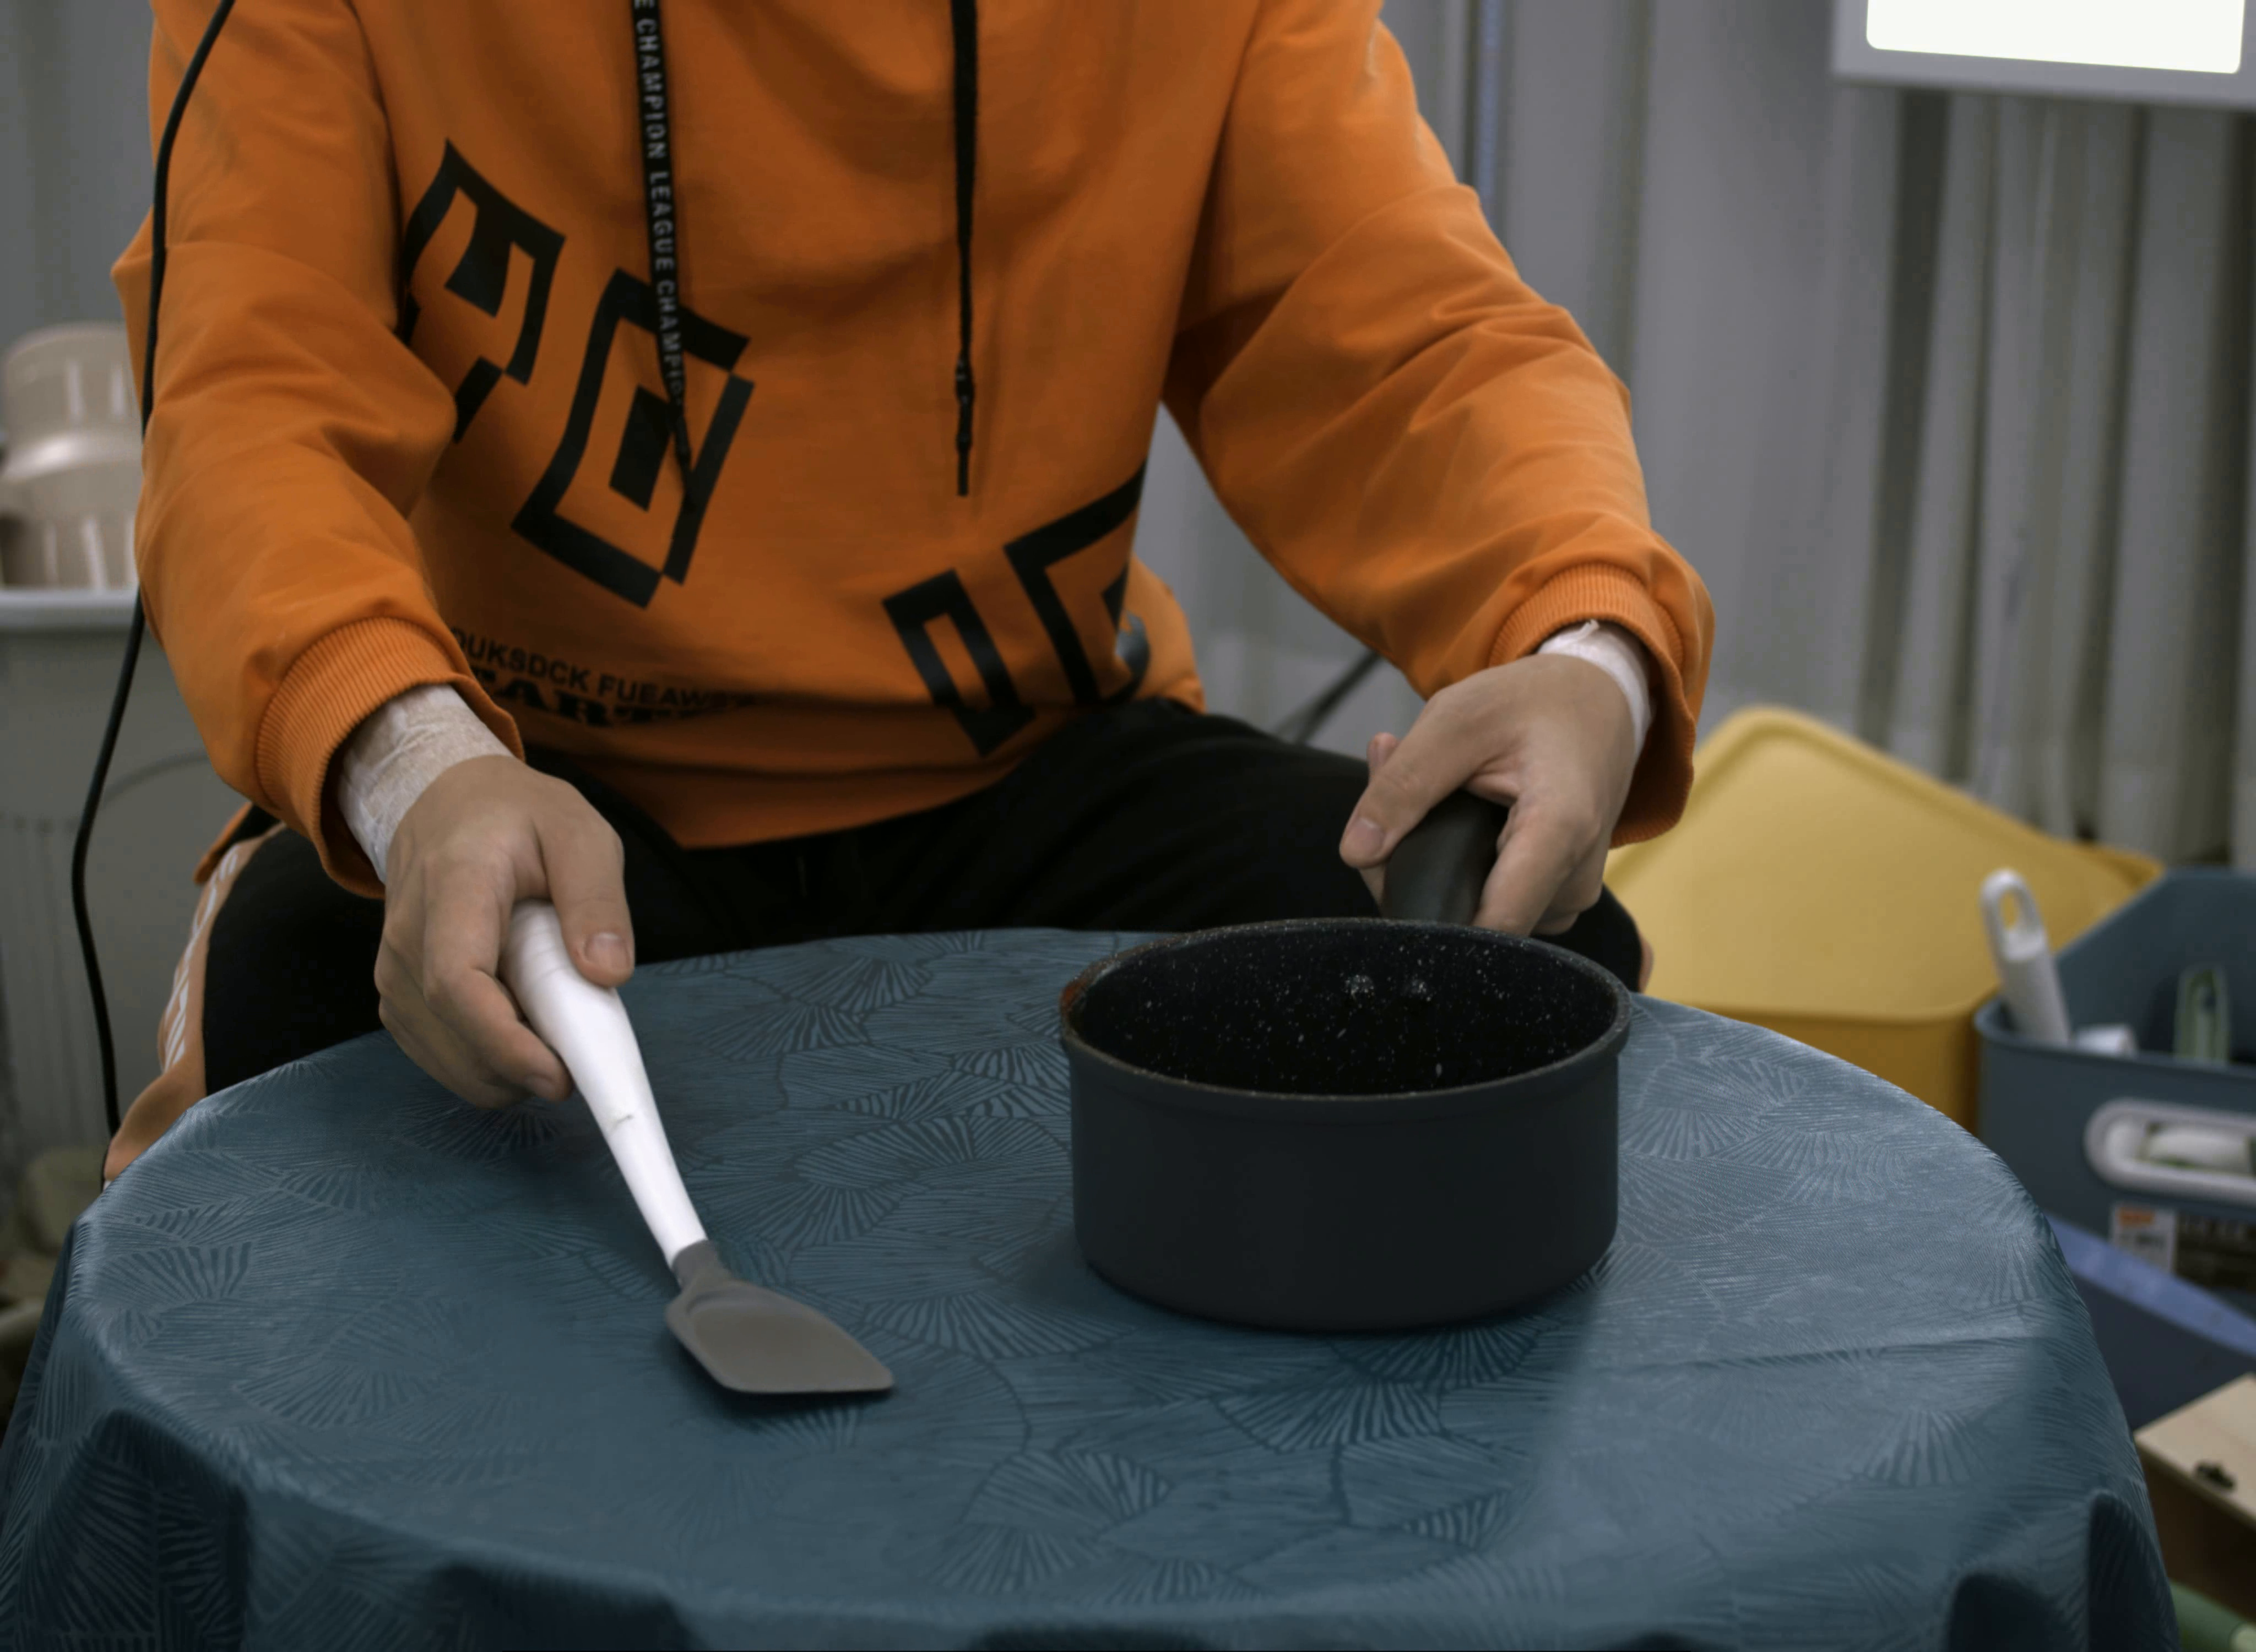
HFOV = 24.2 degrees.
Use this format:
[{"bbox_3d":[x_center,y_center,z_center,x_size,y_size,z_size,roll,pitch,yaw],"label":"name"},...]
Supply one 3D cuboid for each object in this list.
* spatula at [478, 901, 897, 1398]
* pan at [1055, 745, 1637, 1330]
[{"bbox_3d":[-0.139,0.100,1.558,0.059,0.032,0.284,7,23,-27],"label":"spatula"},{"bbox_3d":[0.084,0.062,1.638,0.170,0.087,0.328,5,19,14],"label":"pan"}]
